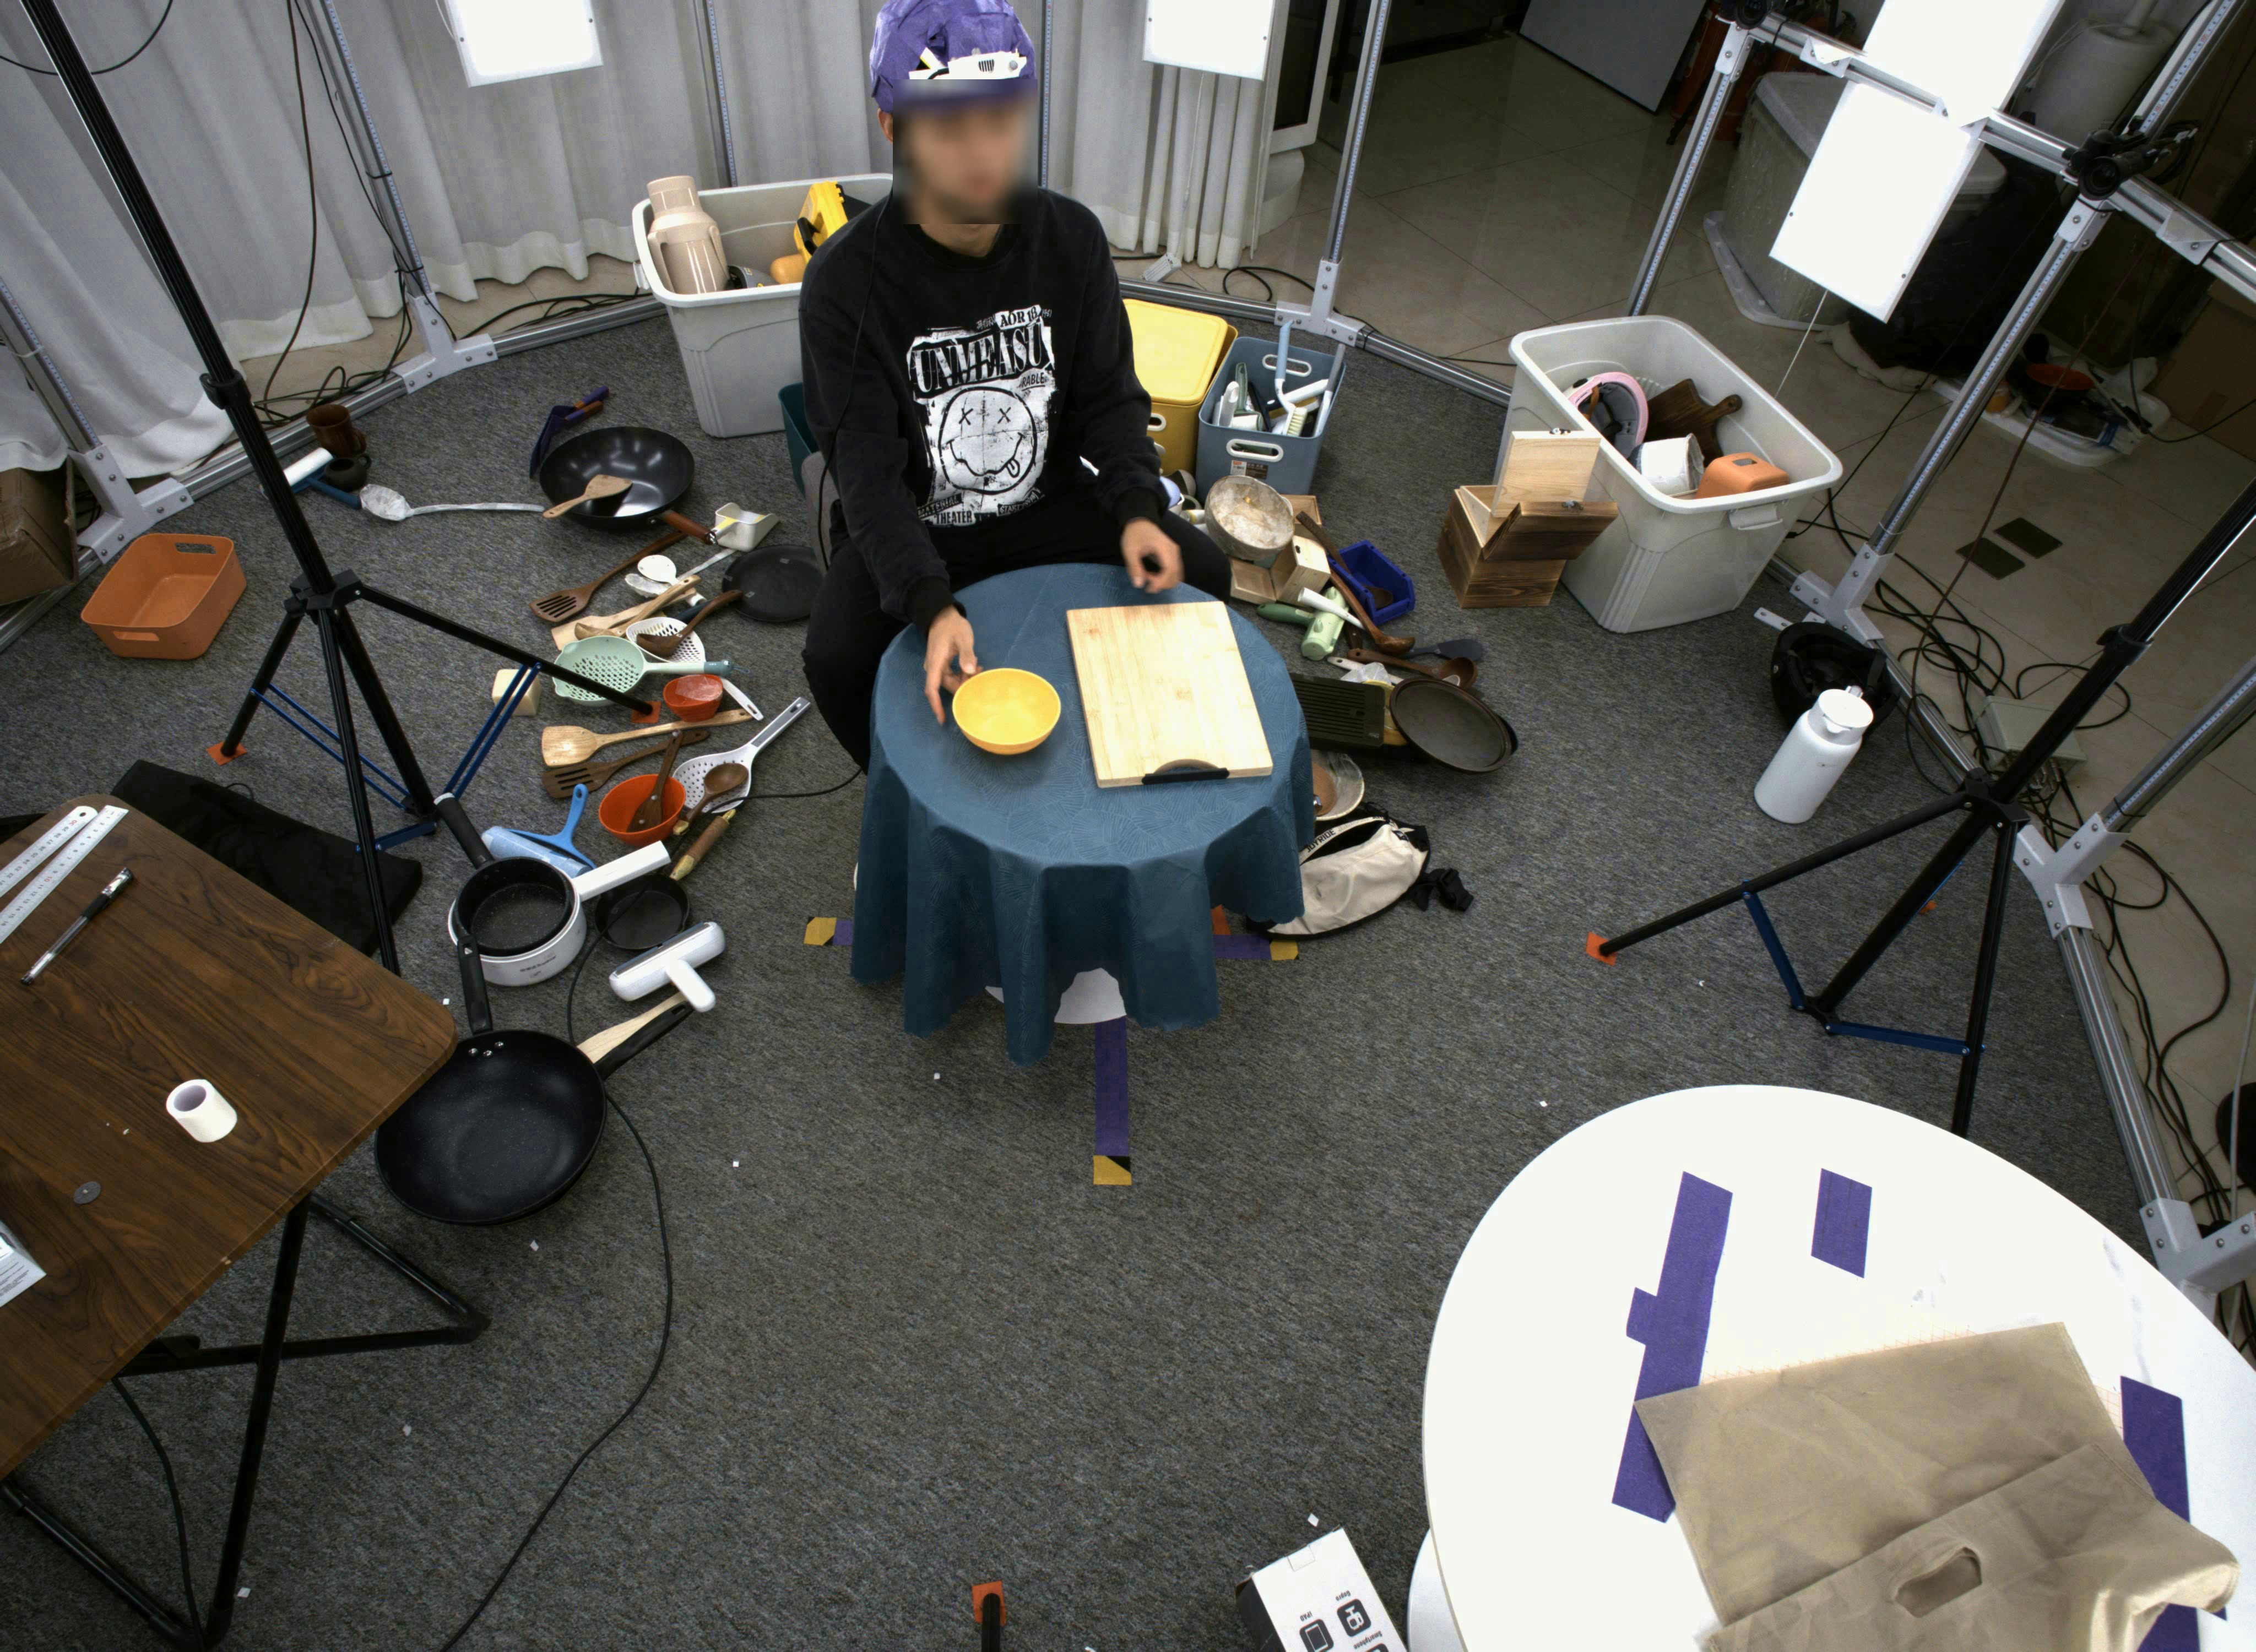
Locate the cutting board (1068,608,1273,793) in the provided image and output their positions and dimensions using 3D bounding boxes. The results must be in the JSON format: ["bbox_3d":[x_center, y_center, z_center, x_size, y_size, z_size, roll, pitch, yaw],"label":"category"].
[{"bbox_3d":[0.053,-0.190,1.843,0.250,0.023,0.357,-6,49,-8],"label":"cutting board"}]

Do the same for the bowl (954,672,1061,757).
[{"bbox_3d":[-0.165,-0.141,1.760,0.145,0.058,0.149,4,47,-4],"label":"bowl"}]
